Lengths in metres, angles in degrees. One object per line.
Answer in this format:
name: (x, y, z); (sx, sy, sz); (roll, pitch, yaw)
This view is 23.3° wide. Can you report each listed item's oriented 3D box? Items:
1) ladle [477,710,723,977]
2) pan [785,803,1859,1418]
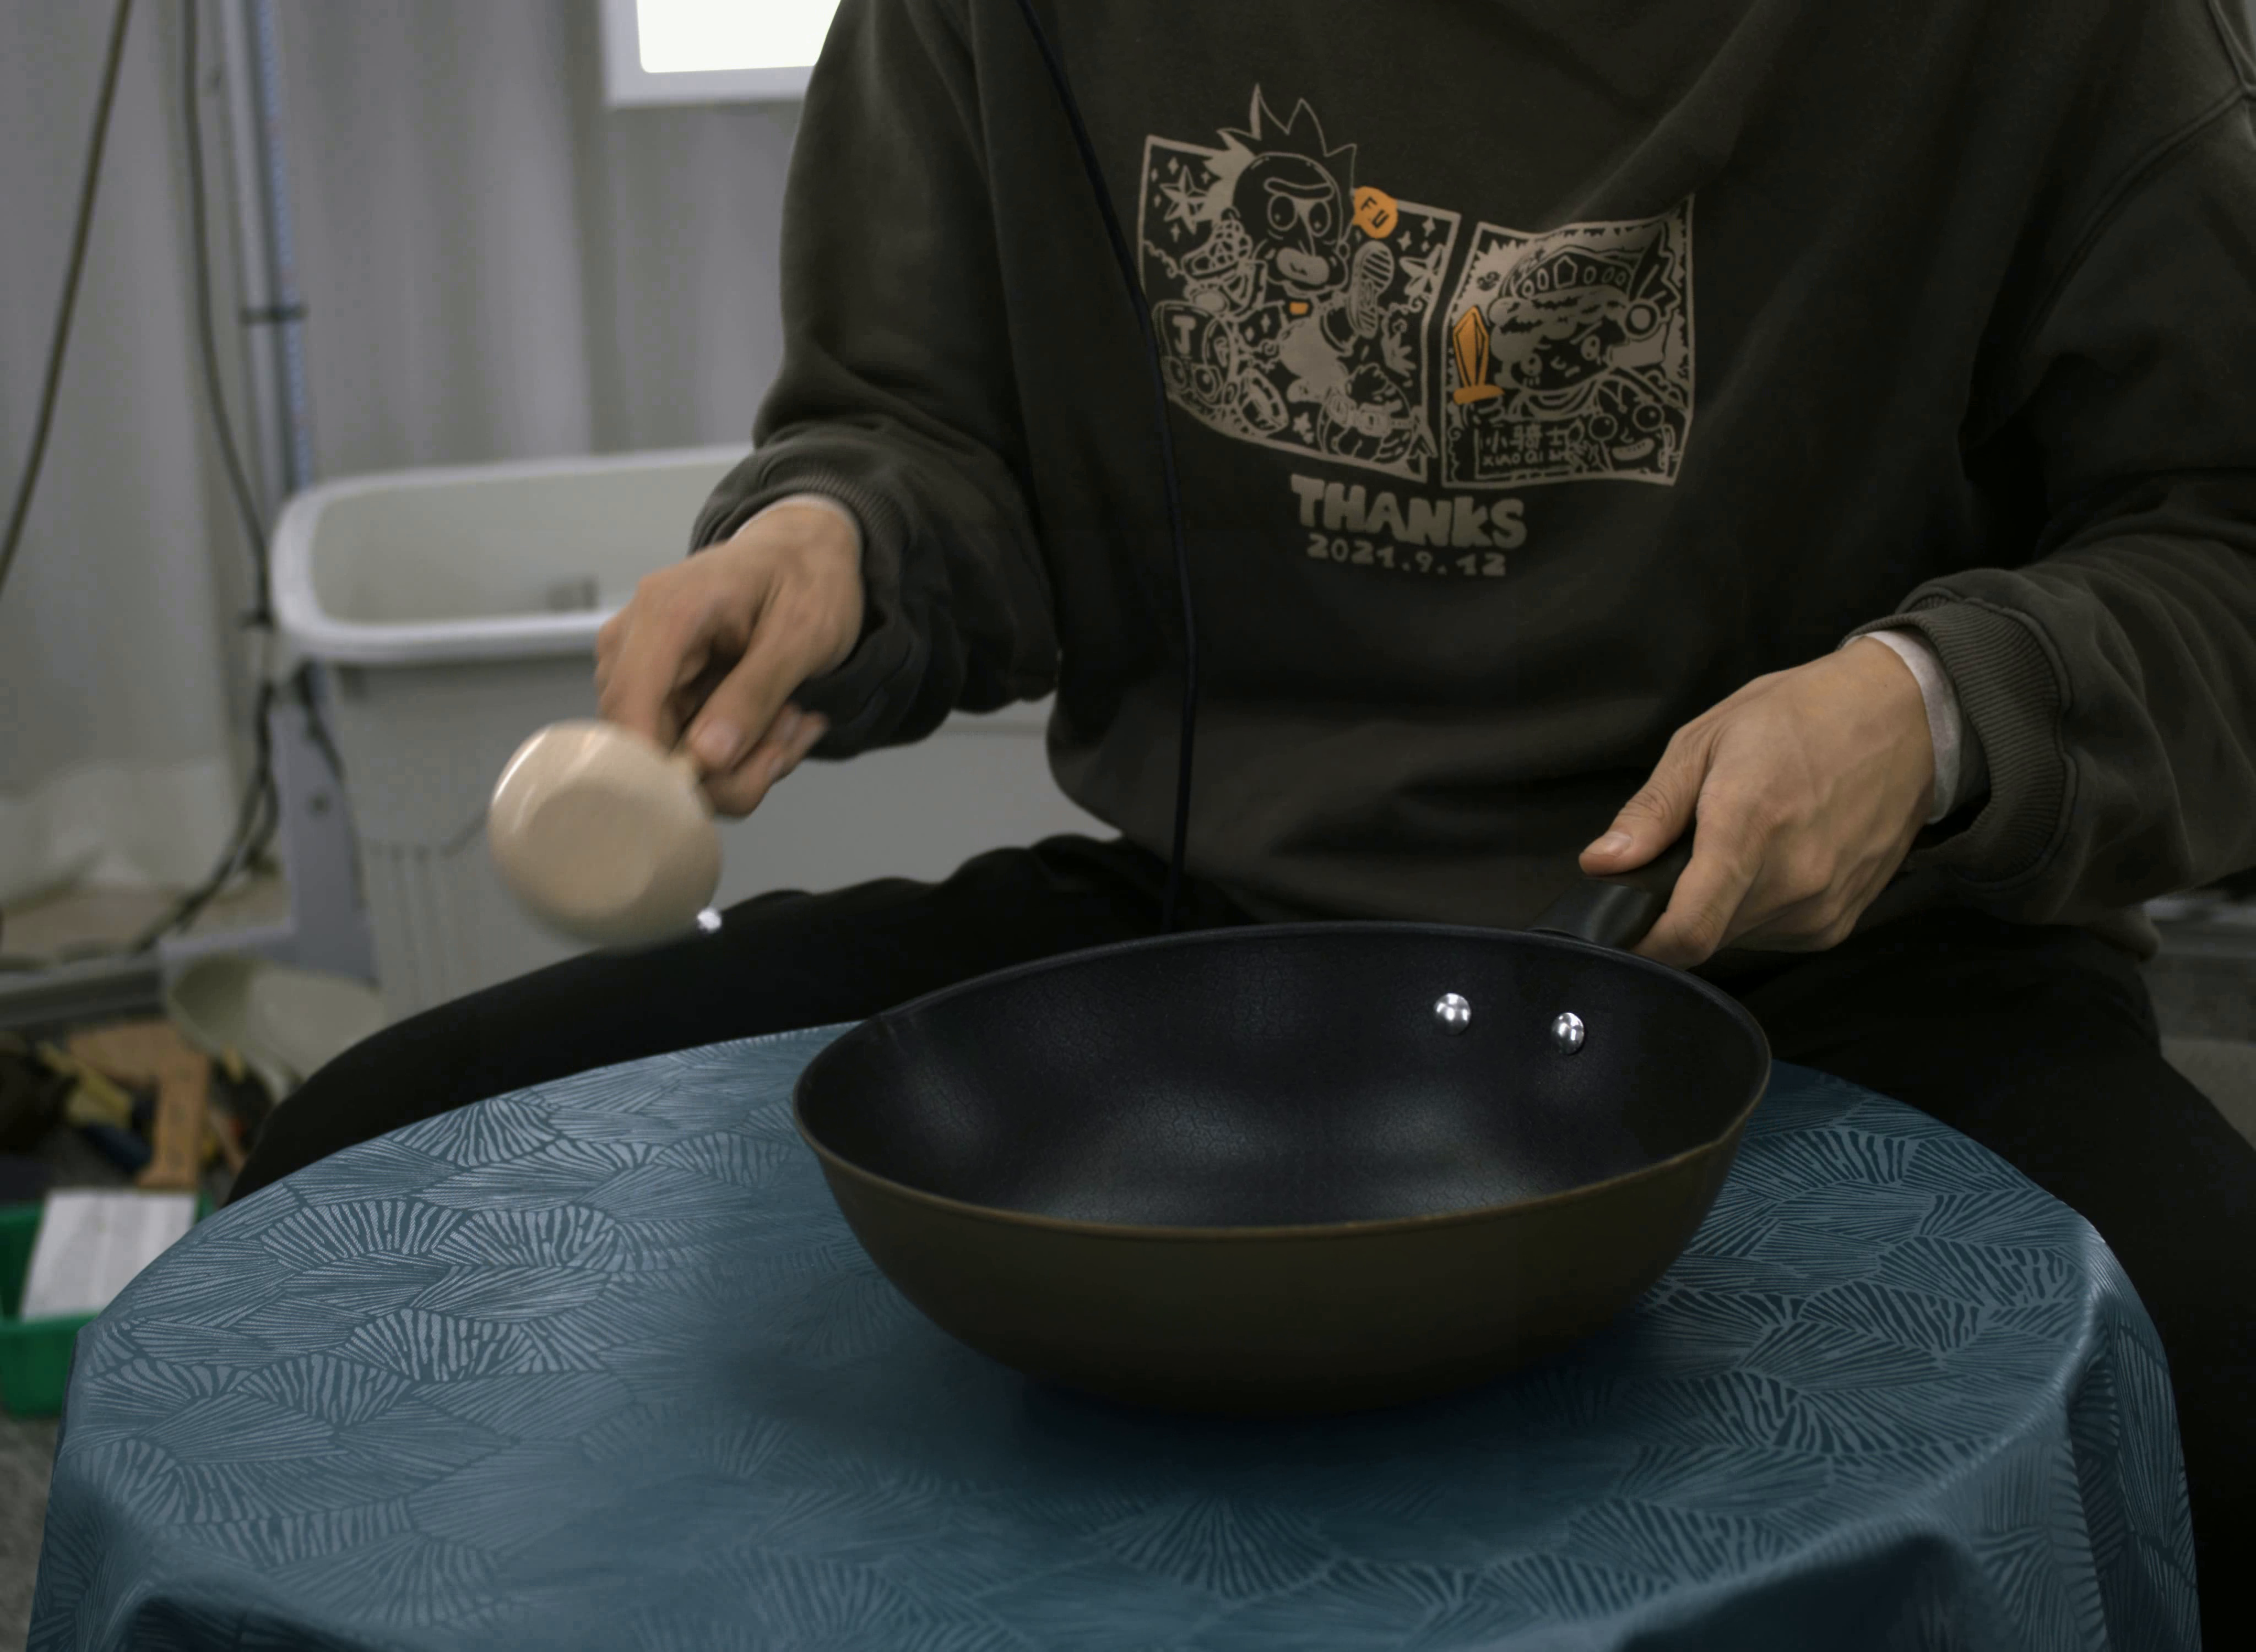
ladle: (-0.142, -0.022, 1.702); (0.072, 0.072, 0.256); (32, 20, -3)
pan: (0.096, 0.083, 1.653); (0.289, 0.086, 0.463); (7, 18, 34)
